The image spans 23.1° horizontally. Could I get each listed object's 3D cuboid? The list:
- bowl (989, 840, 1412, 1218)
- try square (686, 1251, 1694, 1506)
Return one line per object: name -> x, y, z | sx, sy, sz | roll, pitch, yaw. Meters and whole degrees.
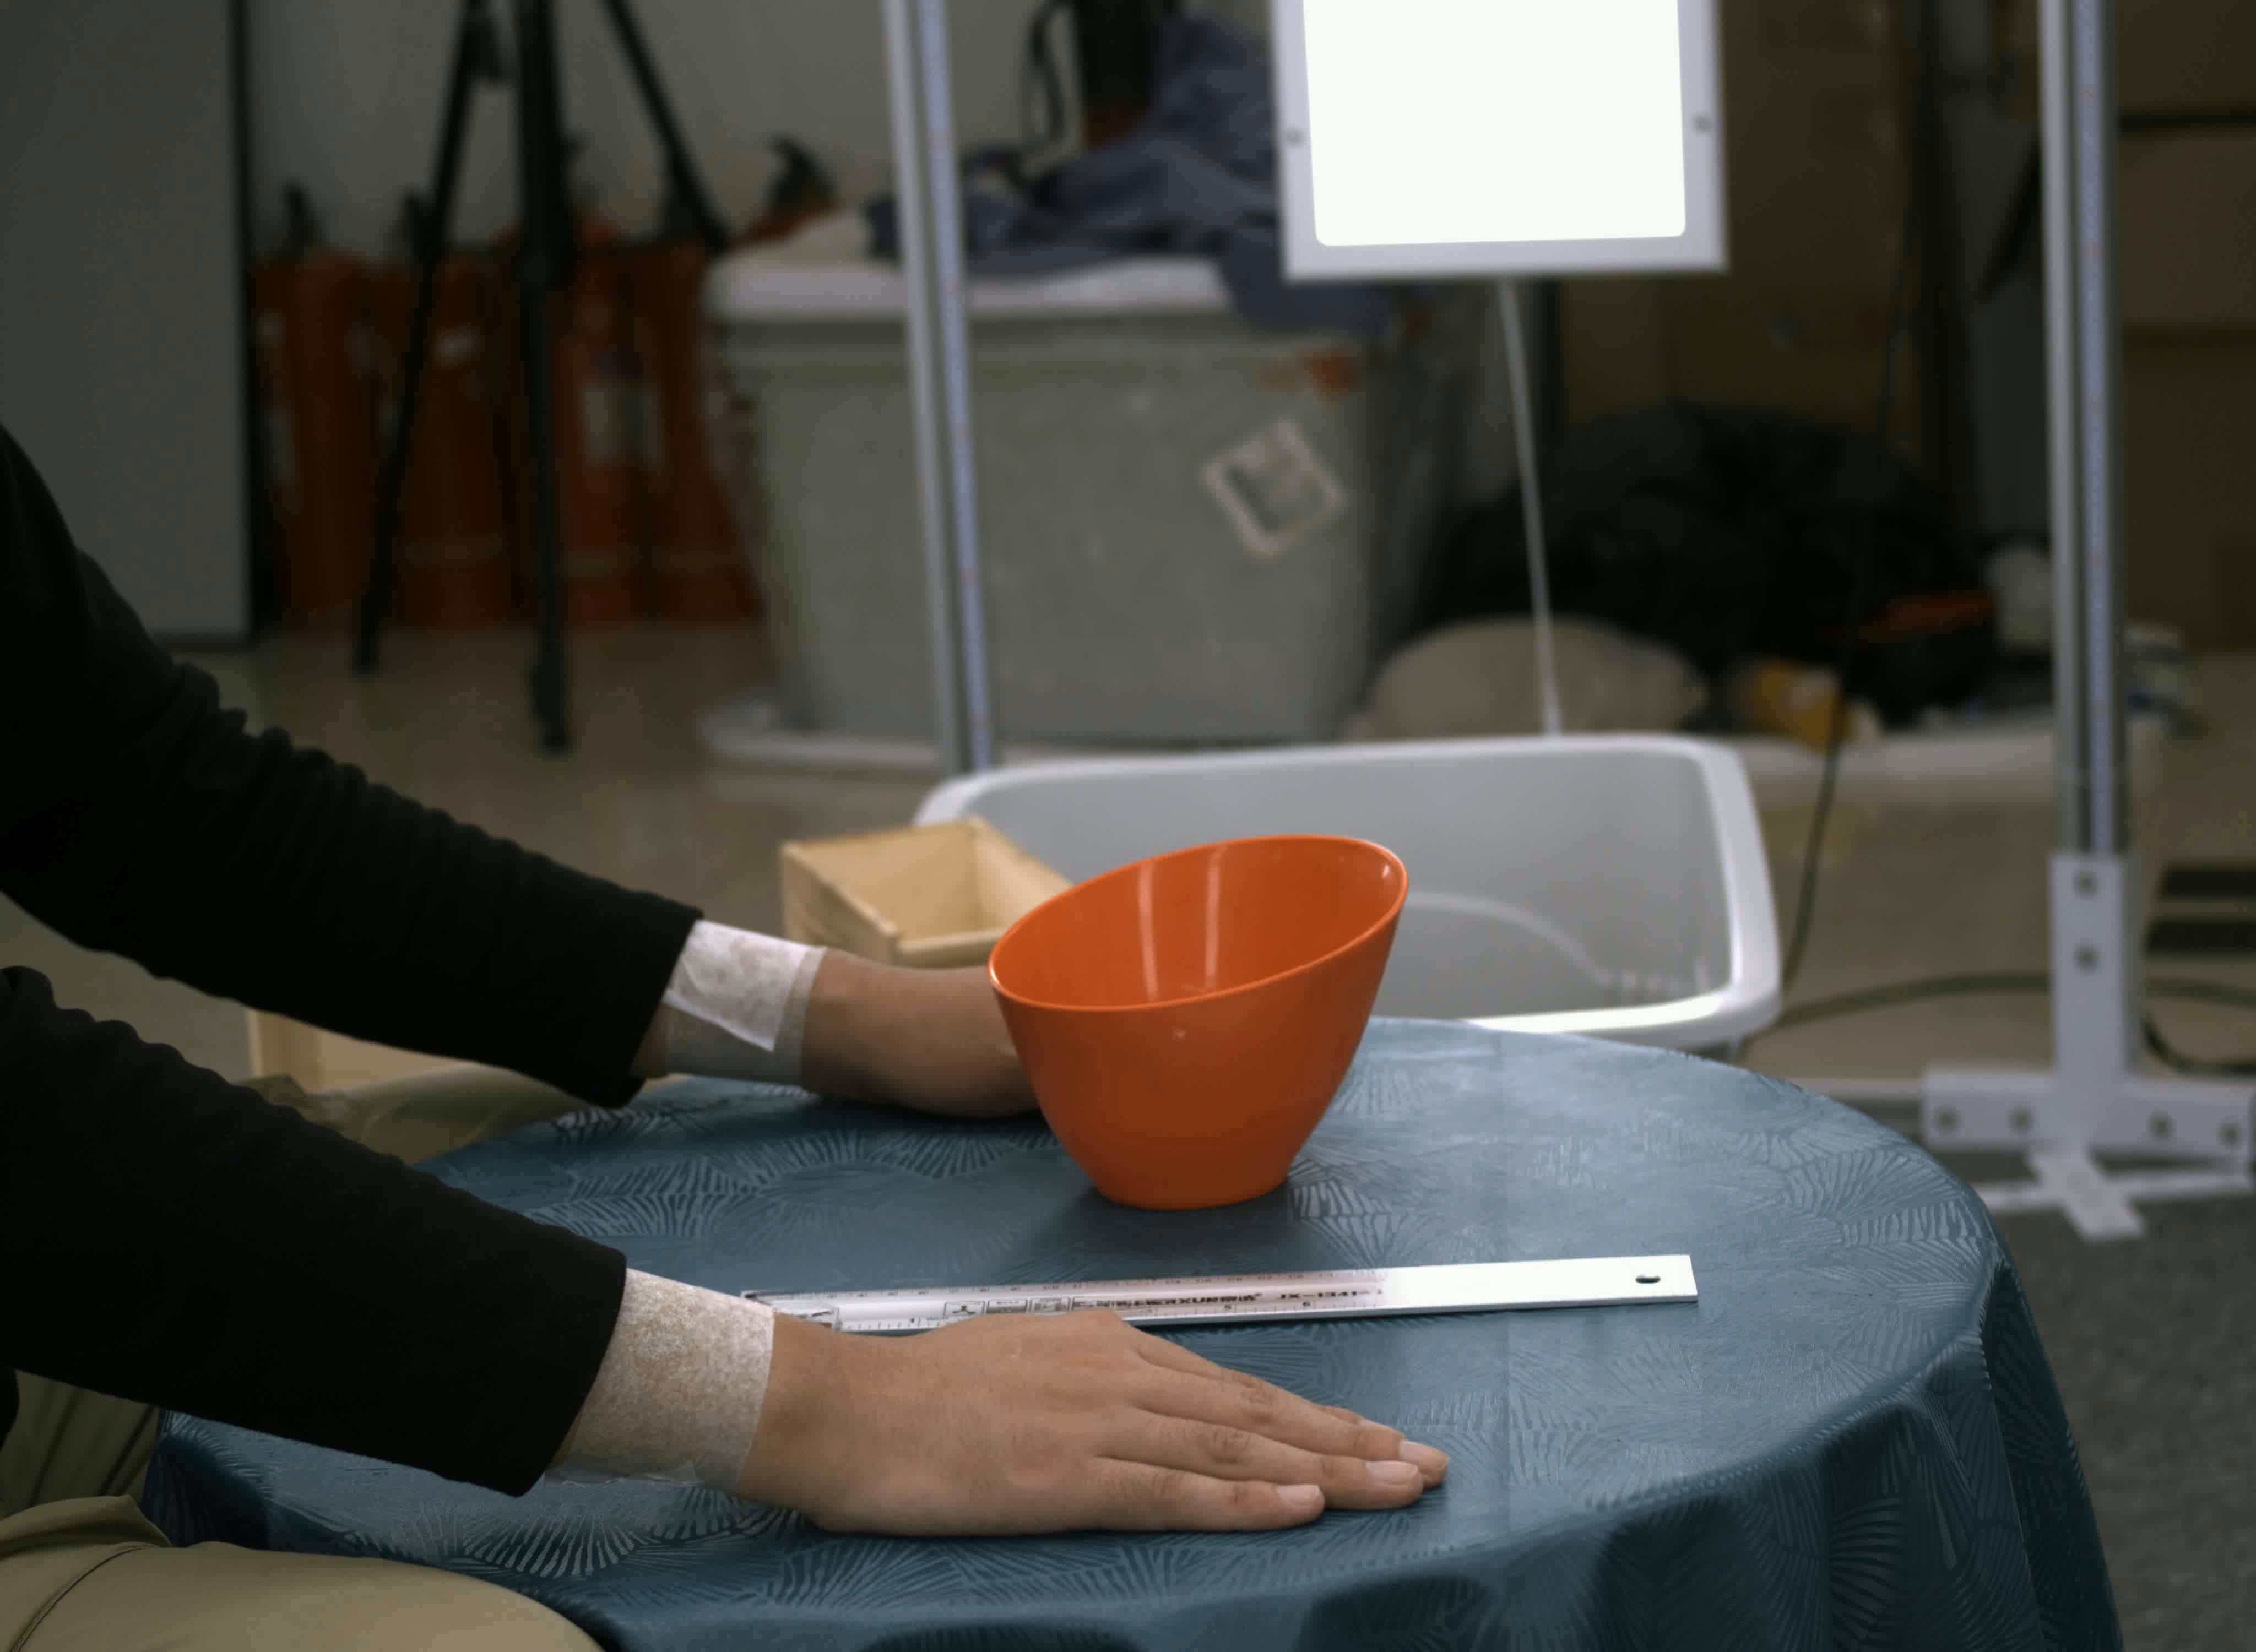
bowl -> 0.028, 0.073, 1.896 | 0.147, 0.105, 0.148 | -5, 15, 0
try square -> 0.024, 0.169, 1.719 | 0.313, 0.016, 0.151 | -3, 19, 5
